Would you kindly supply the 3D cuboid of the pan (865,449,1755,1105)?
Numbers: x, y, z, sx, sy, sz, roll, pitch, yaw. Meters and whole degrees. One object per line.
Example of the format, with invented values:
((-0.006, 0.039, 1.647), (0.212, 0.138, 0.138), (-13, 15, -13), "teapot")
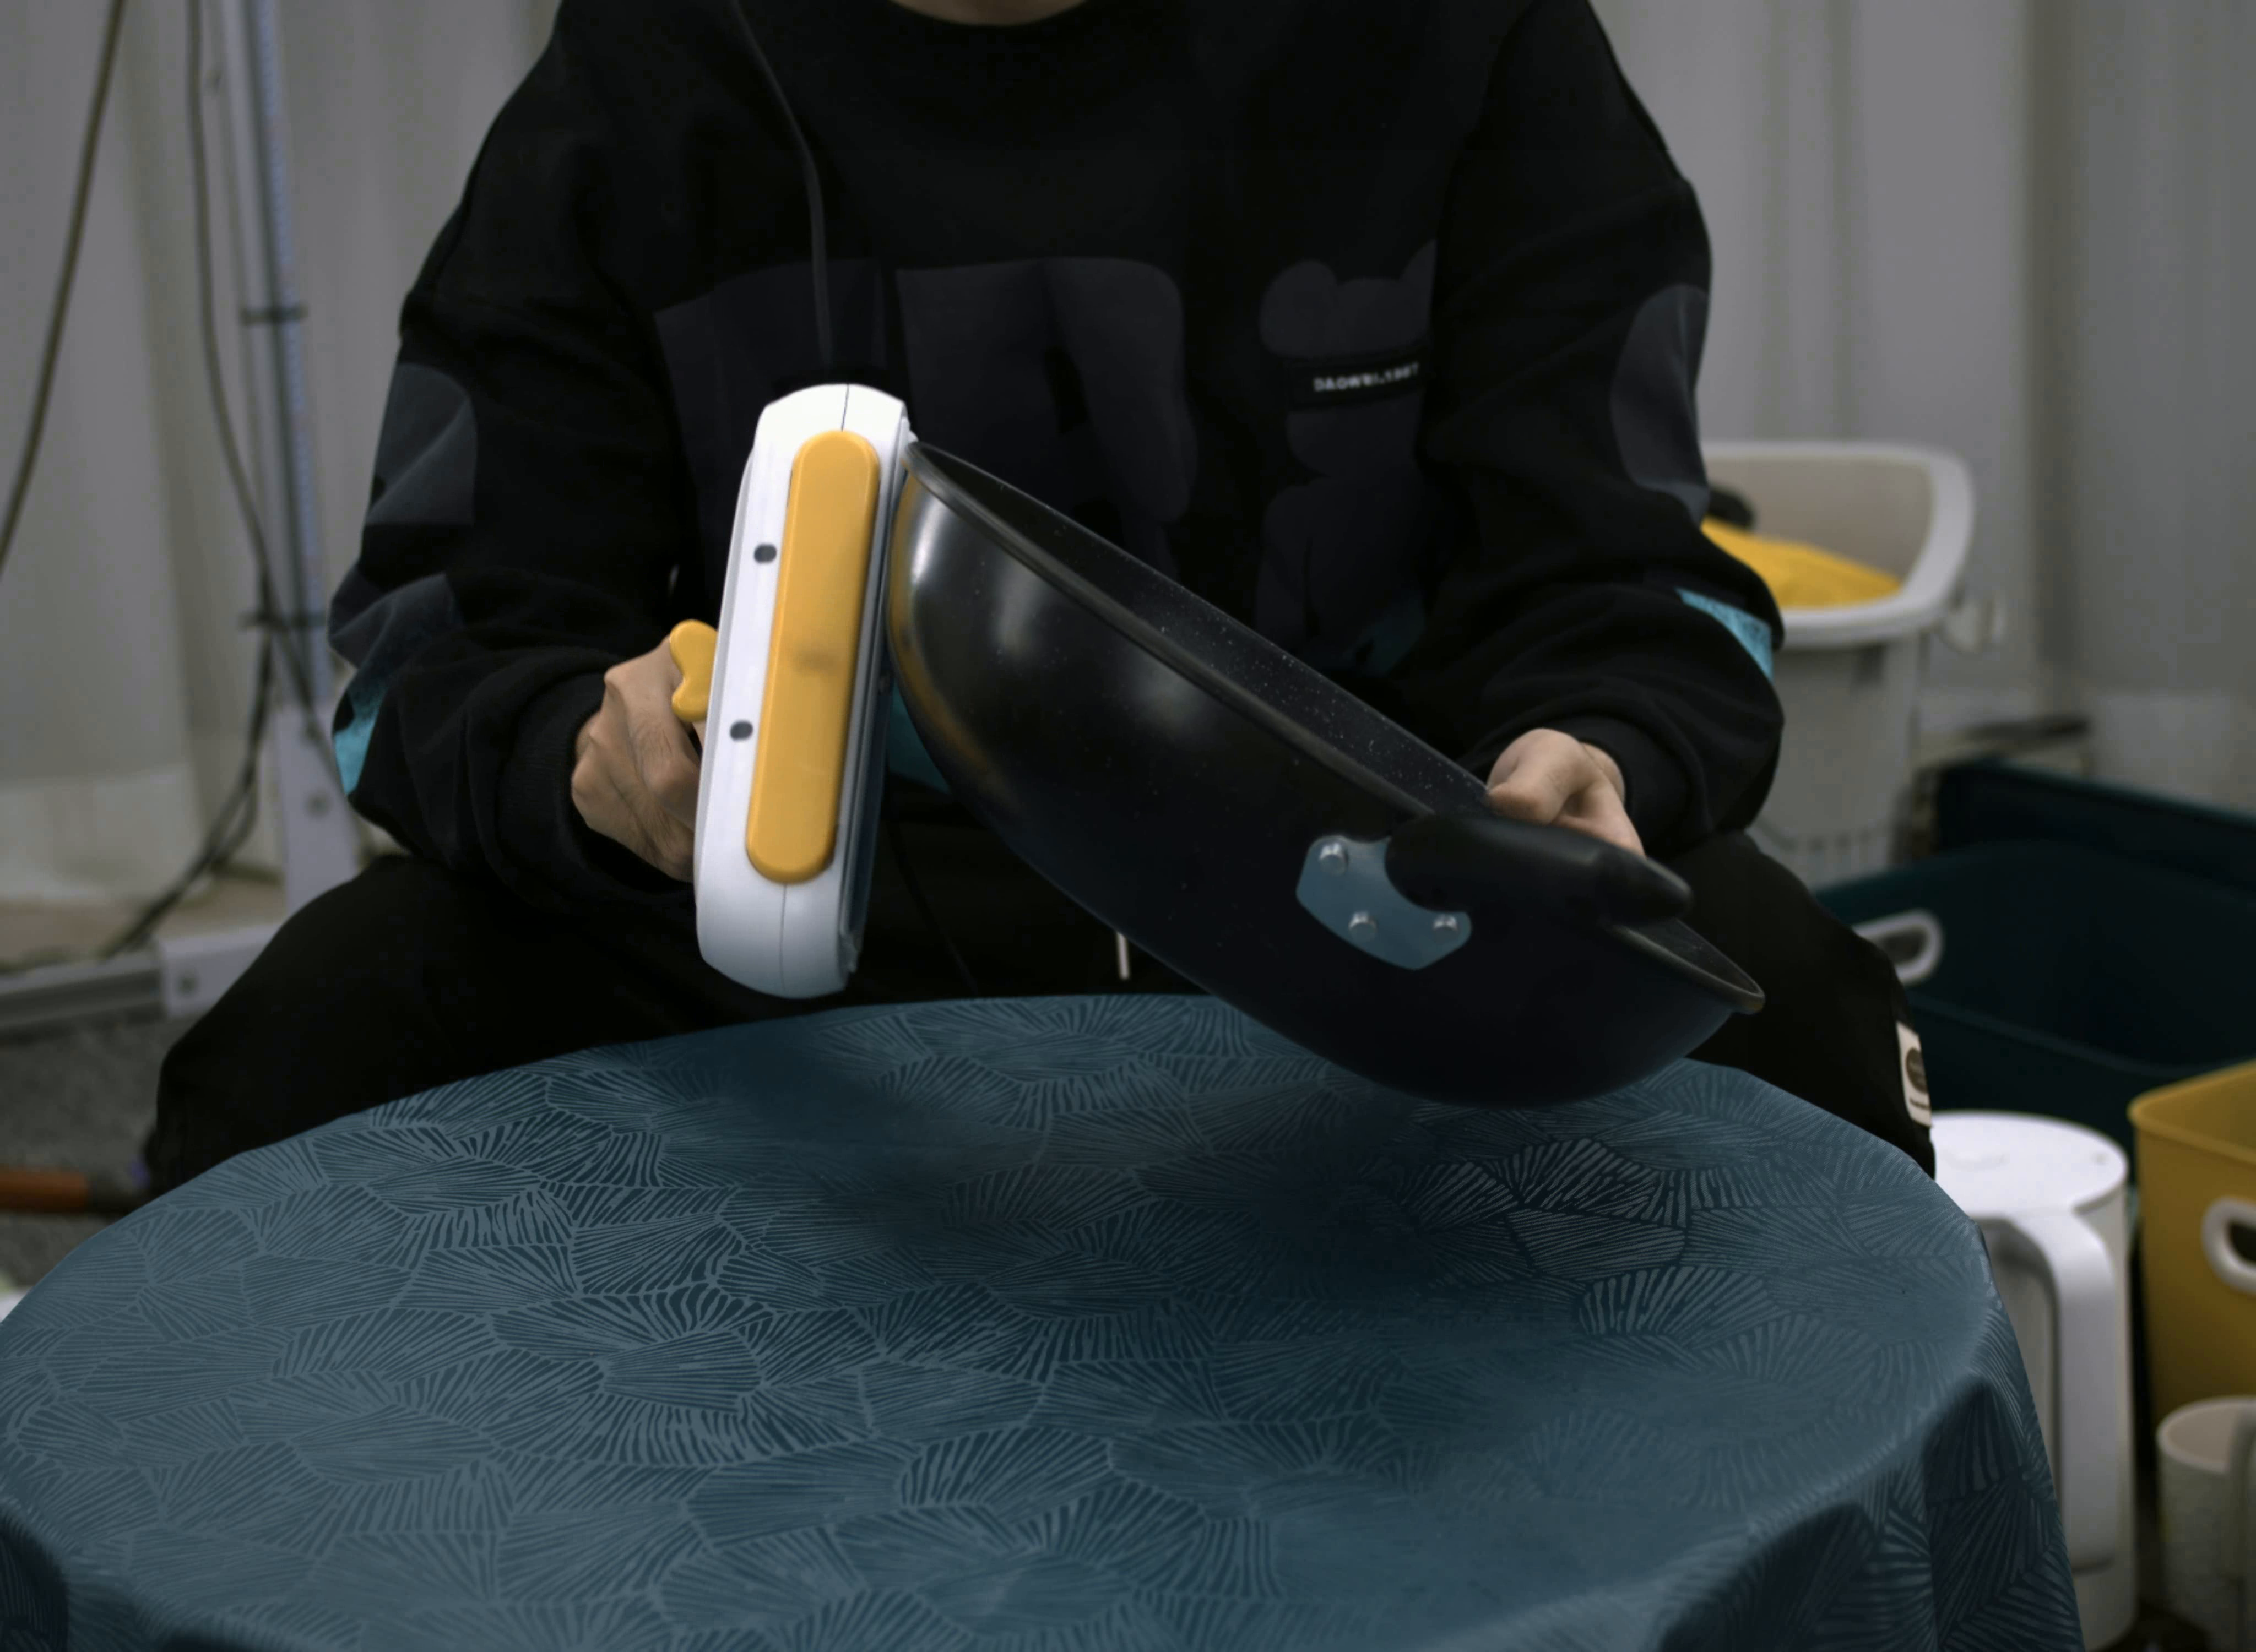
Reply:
((0.058, 0.009, 1.580), (0.308, 0.111, 0.480), (30, 5, -14), "pan")

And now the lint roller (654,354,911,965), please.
((-0.115, -0.032, 1.736), (0.074, 0.195, 0.191), (4, -22, -8), "lint roller")
